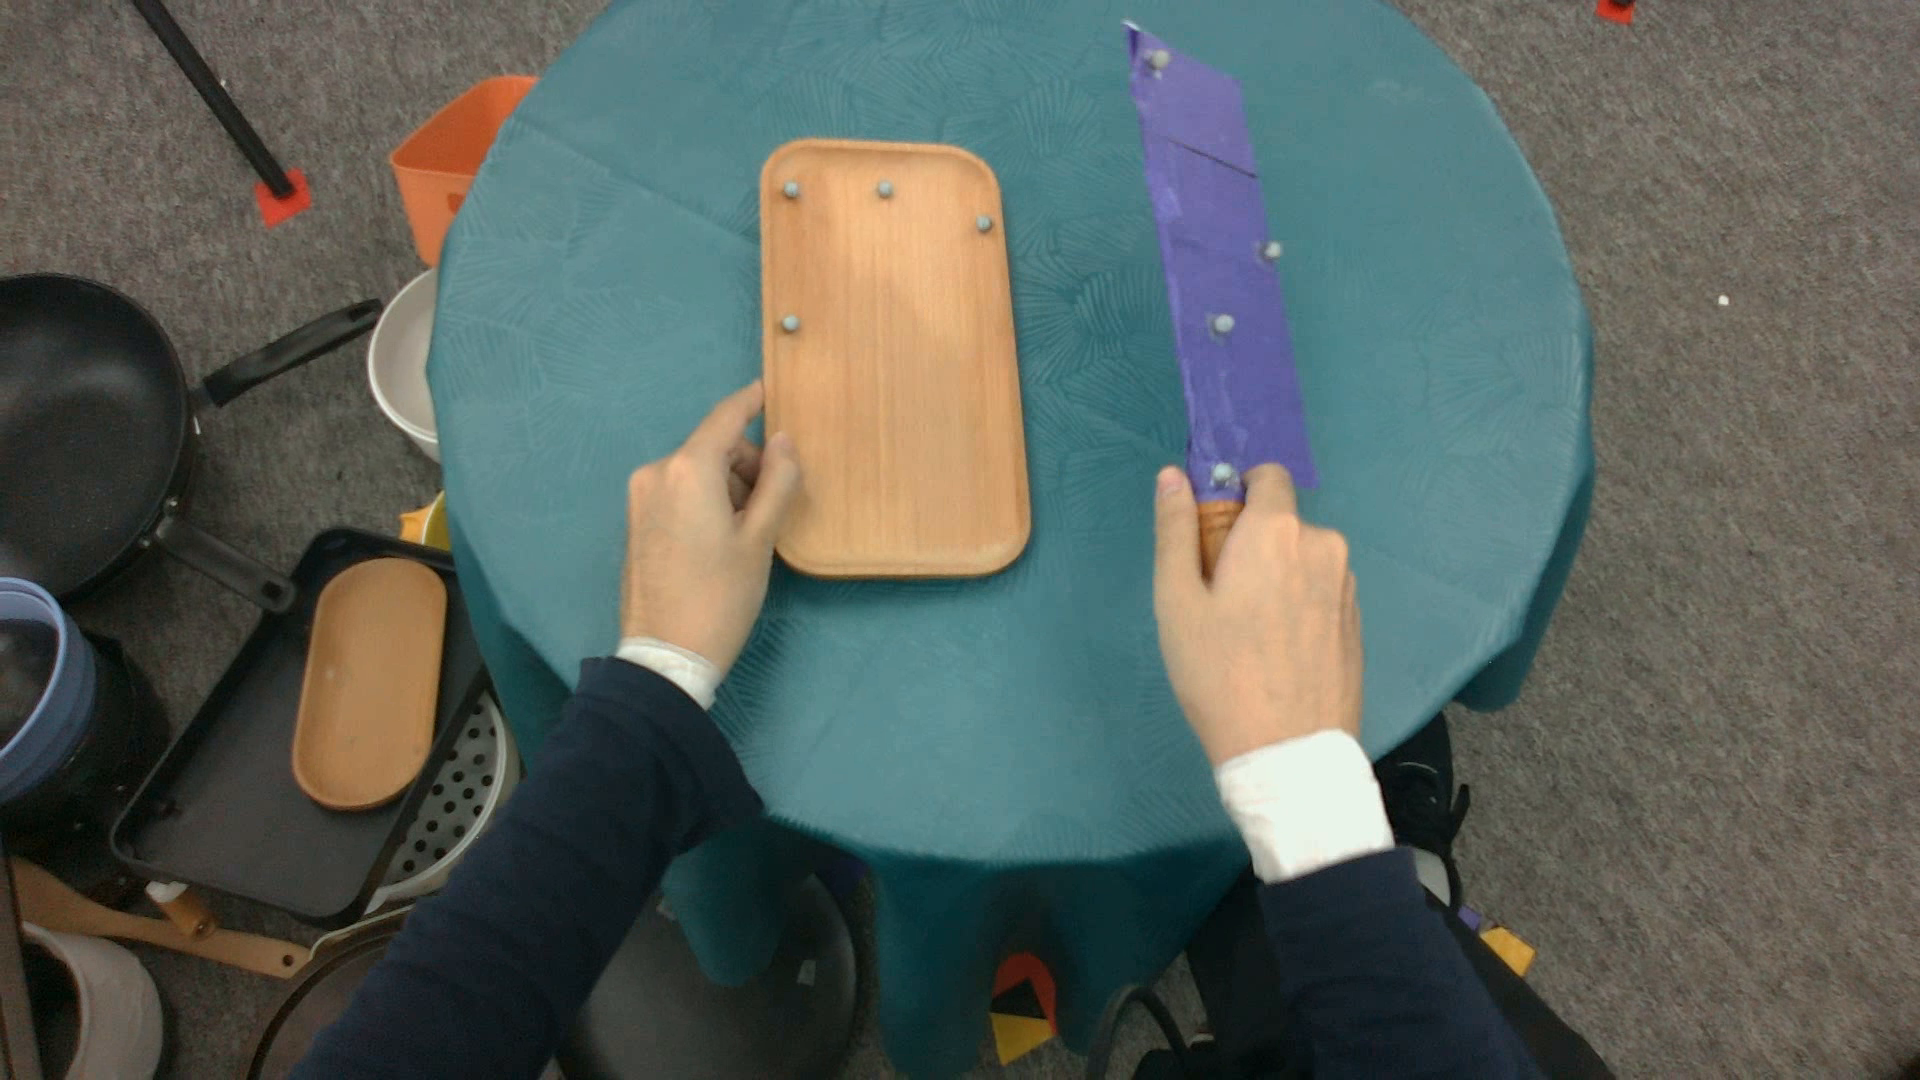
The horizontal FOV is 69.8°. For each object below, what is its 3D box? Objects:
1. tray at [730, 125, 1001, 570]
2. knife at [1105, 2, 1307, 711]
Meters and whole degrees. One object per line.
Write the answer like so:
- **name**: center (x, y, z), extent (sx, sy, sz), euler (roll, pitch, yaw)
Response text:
- **tray**: center (-0.047, -0.102, 0.691), extent (0.130, 0.023, 0.251), euler (2, 67, -7)
- **knife**: center (0.119, -0.084, 0.605), extent (0.104, 0.032, 0.316), euler (6, 74, -42)
